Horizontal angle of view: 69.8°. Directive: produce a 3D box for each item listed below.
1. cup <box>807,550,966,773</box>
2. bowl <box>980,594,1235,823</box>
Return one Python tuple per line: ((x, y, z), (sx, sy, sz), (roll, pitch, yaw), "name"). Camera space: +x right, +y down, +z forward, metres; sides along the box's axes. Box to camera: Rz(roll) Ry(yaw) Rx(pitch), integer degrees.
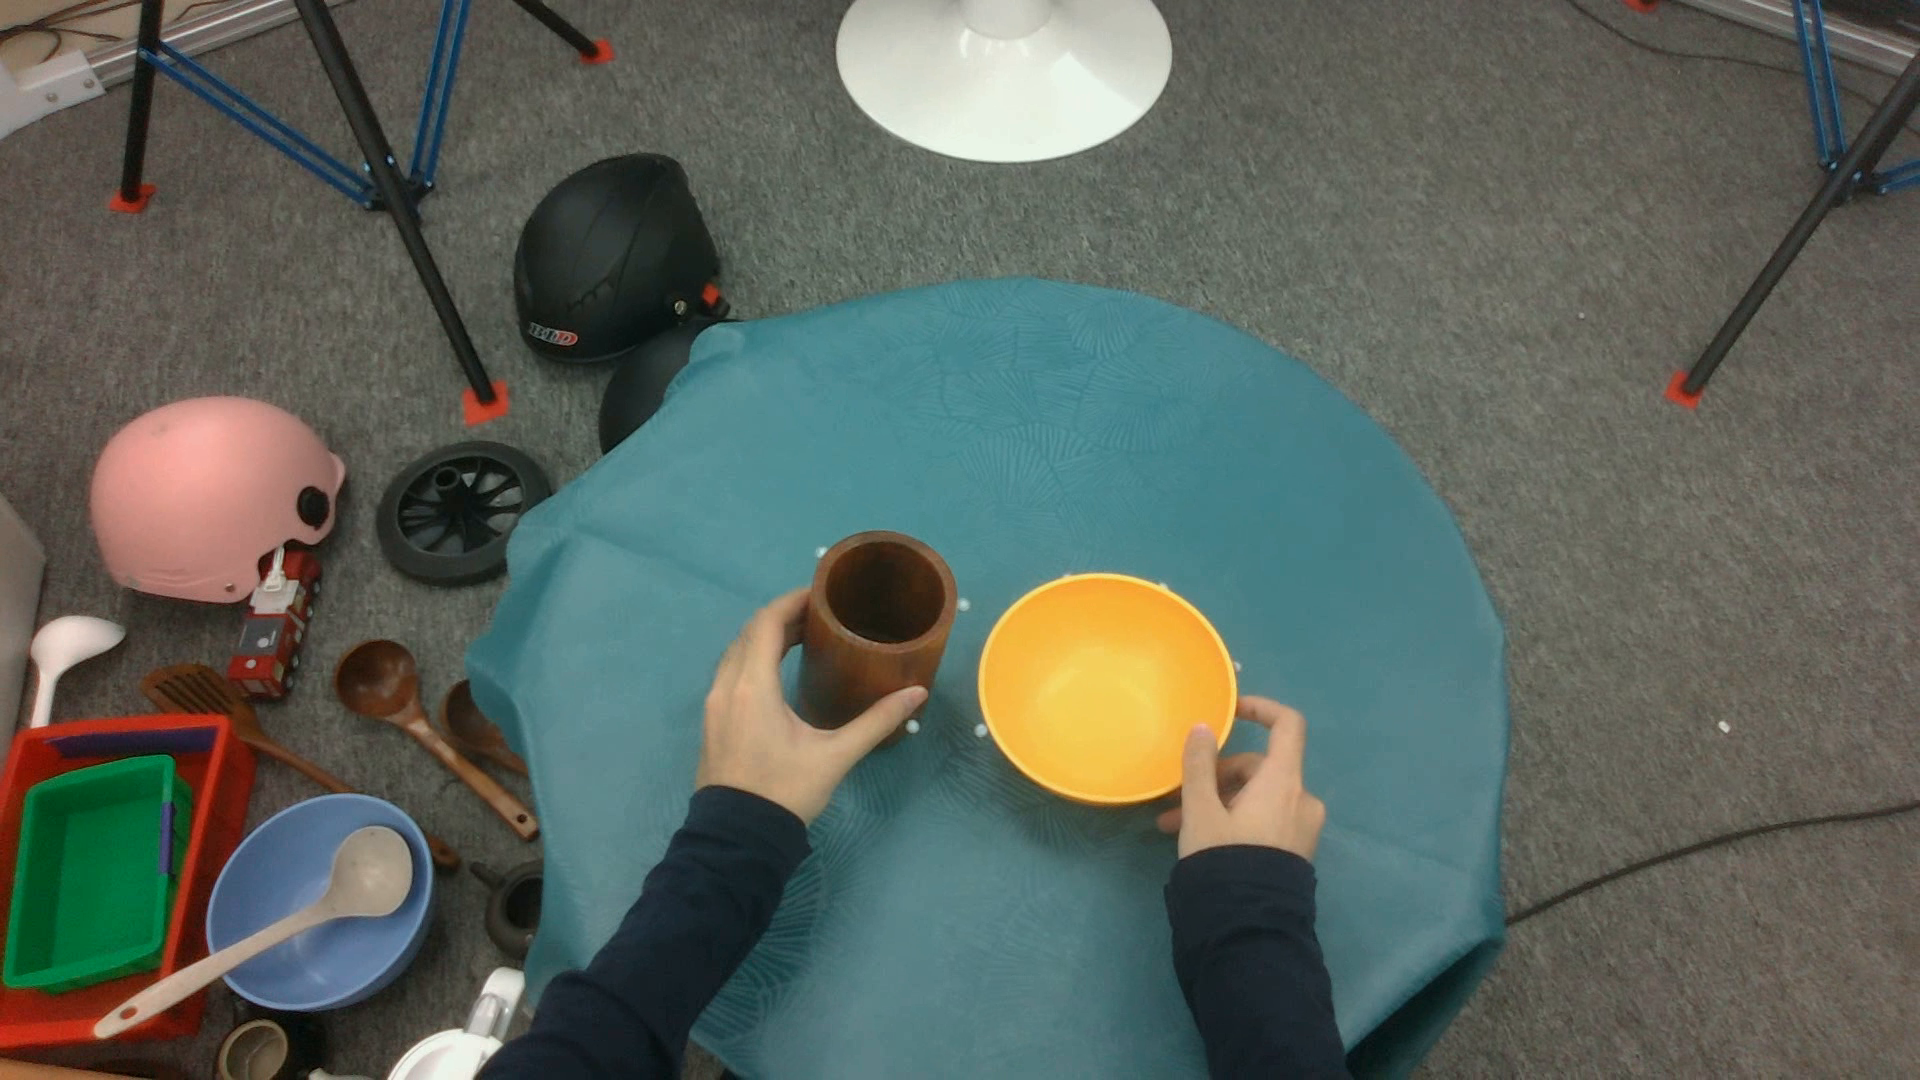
((-0.044, 0.072, 0.788), (0.088, 0.118, 0.088), (3, 53, -4), "cup")
((0.084, 0.107, 0.804), (0.145, 0.060, 0.146), (-1, 55, 1), "bowl")
